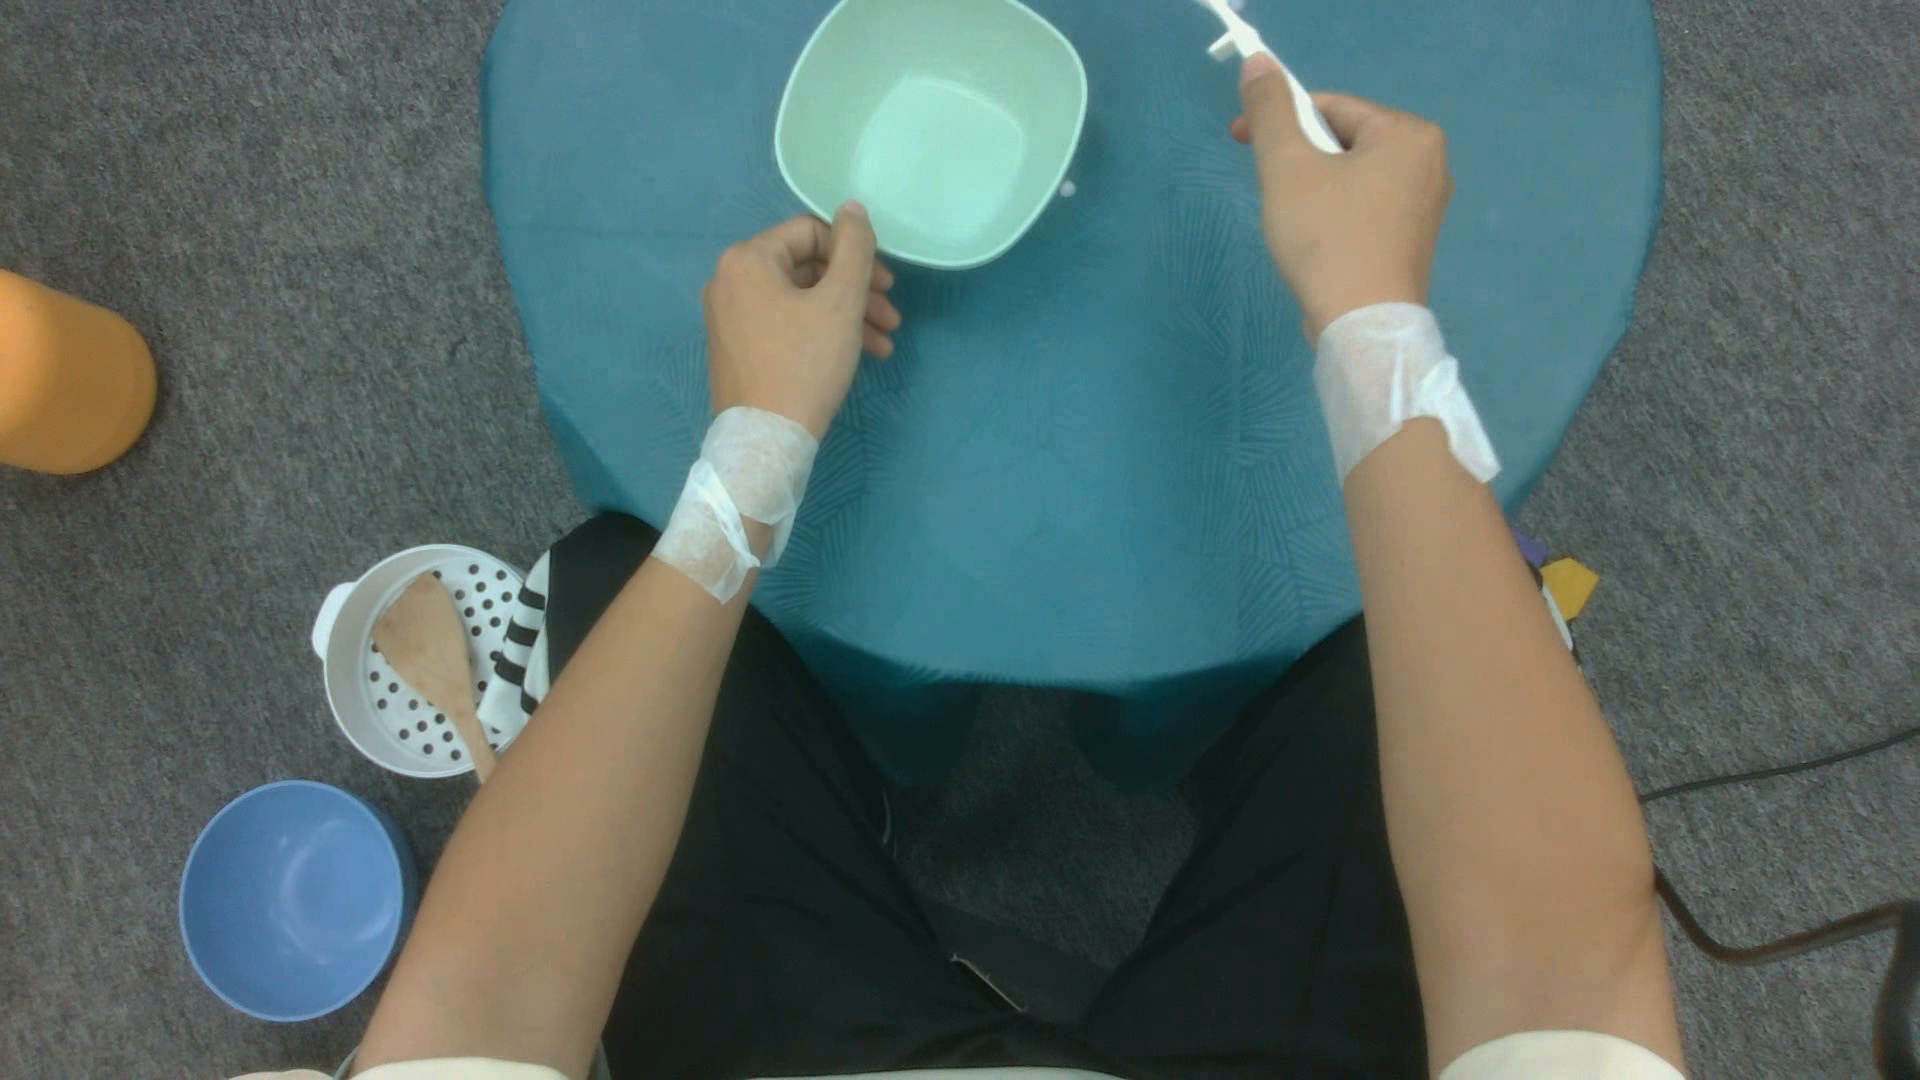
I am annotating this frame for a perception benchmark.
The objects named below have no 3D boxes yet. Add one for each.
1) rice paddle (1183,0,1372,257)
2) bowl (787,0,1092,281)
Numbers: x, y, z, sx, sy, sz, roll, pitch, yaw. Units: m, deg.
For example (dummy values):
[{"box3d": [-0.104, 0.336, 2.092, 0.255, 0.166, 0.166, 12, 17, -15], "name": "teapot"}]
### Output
[{"box3d": [0.125, -0.220, 0.614, 0.029, 0.069, 0.205, -28, 72, 22], "name": "rice paddle"}, {"box3d": [-0.009, -0.191, 0.692, 0.151, 0.058, 0.152, 0, 78, 1], "name": "bowl"}]
